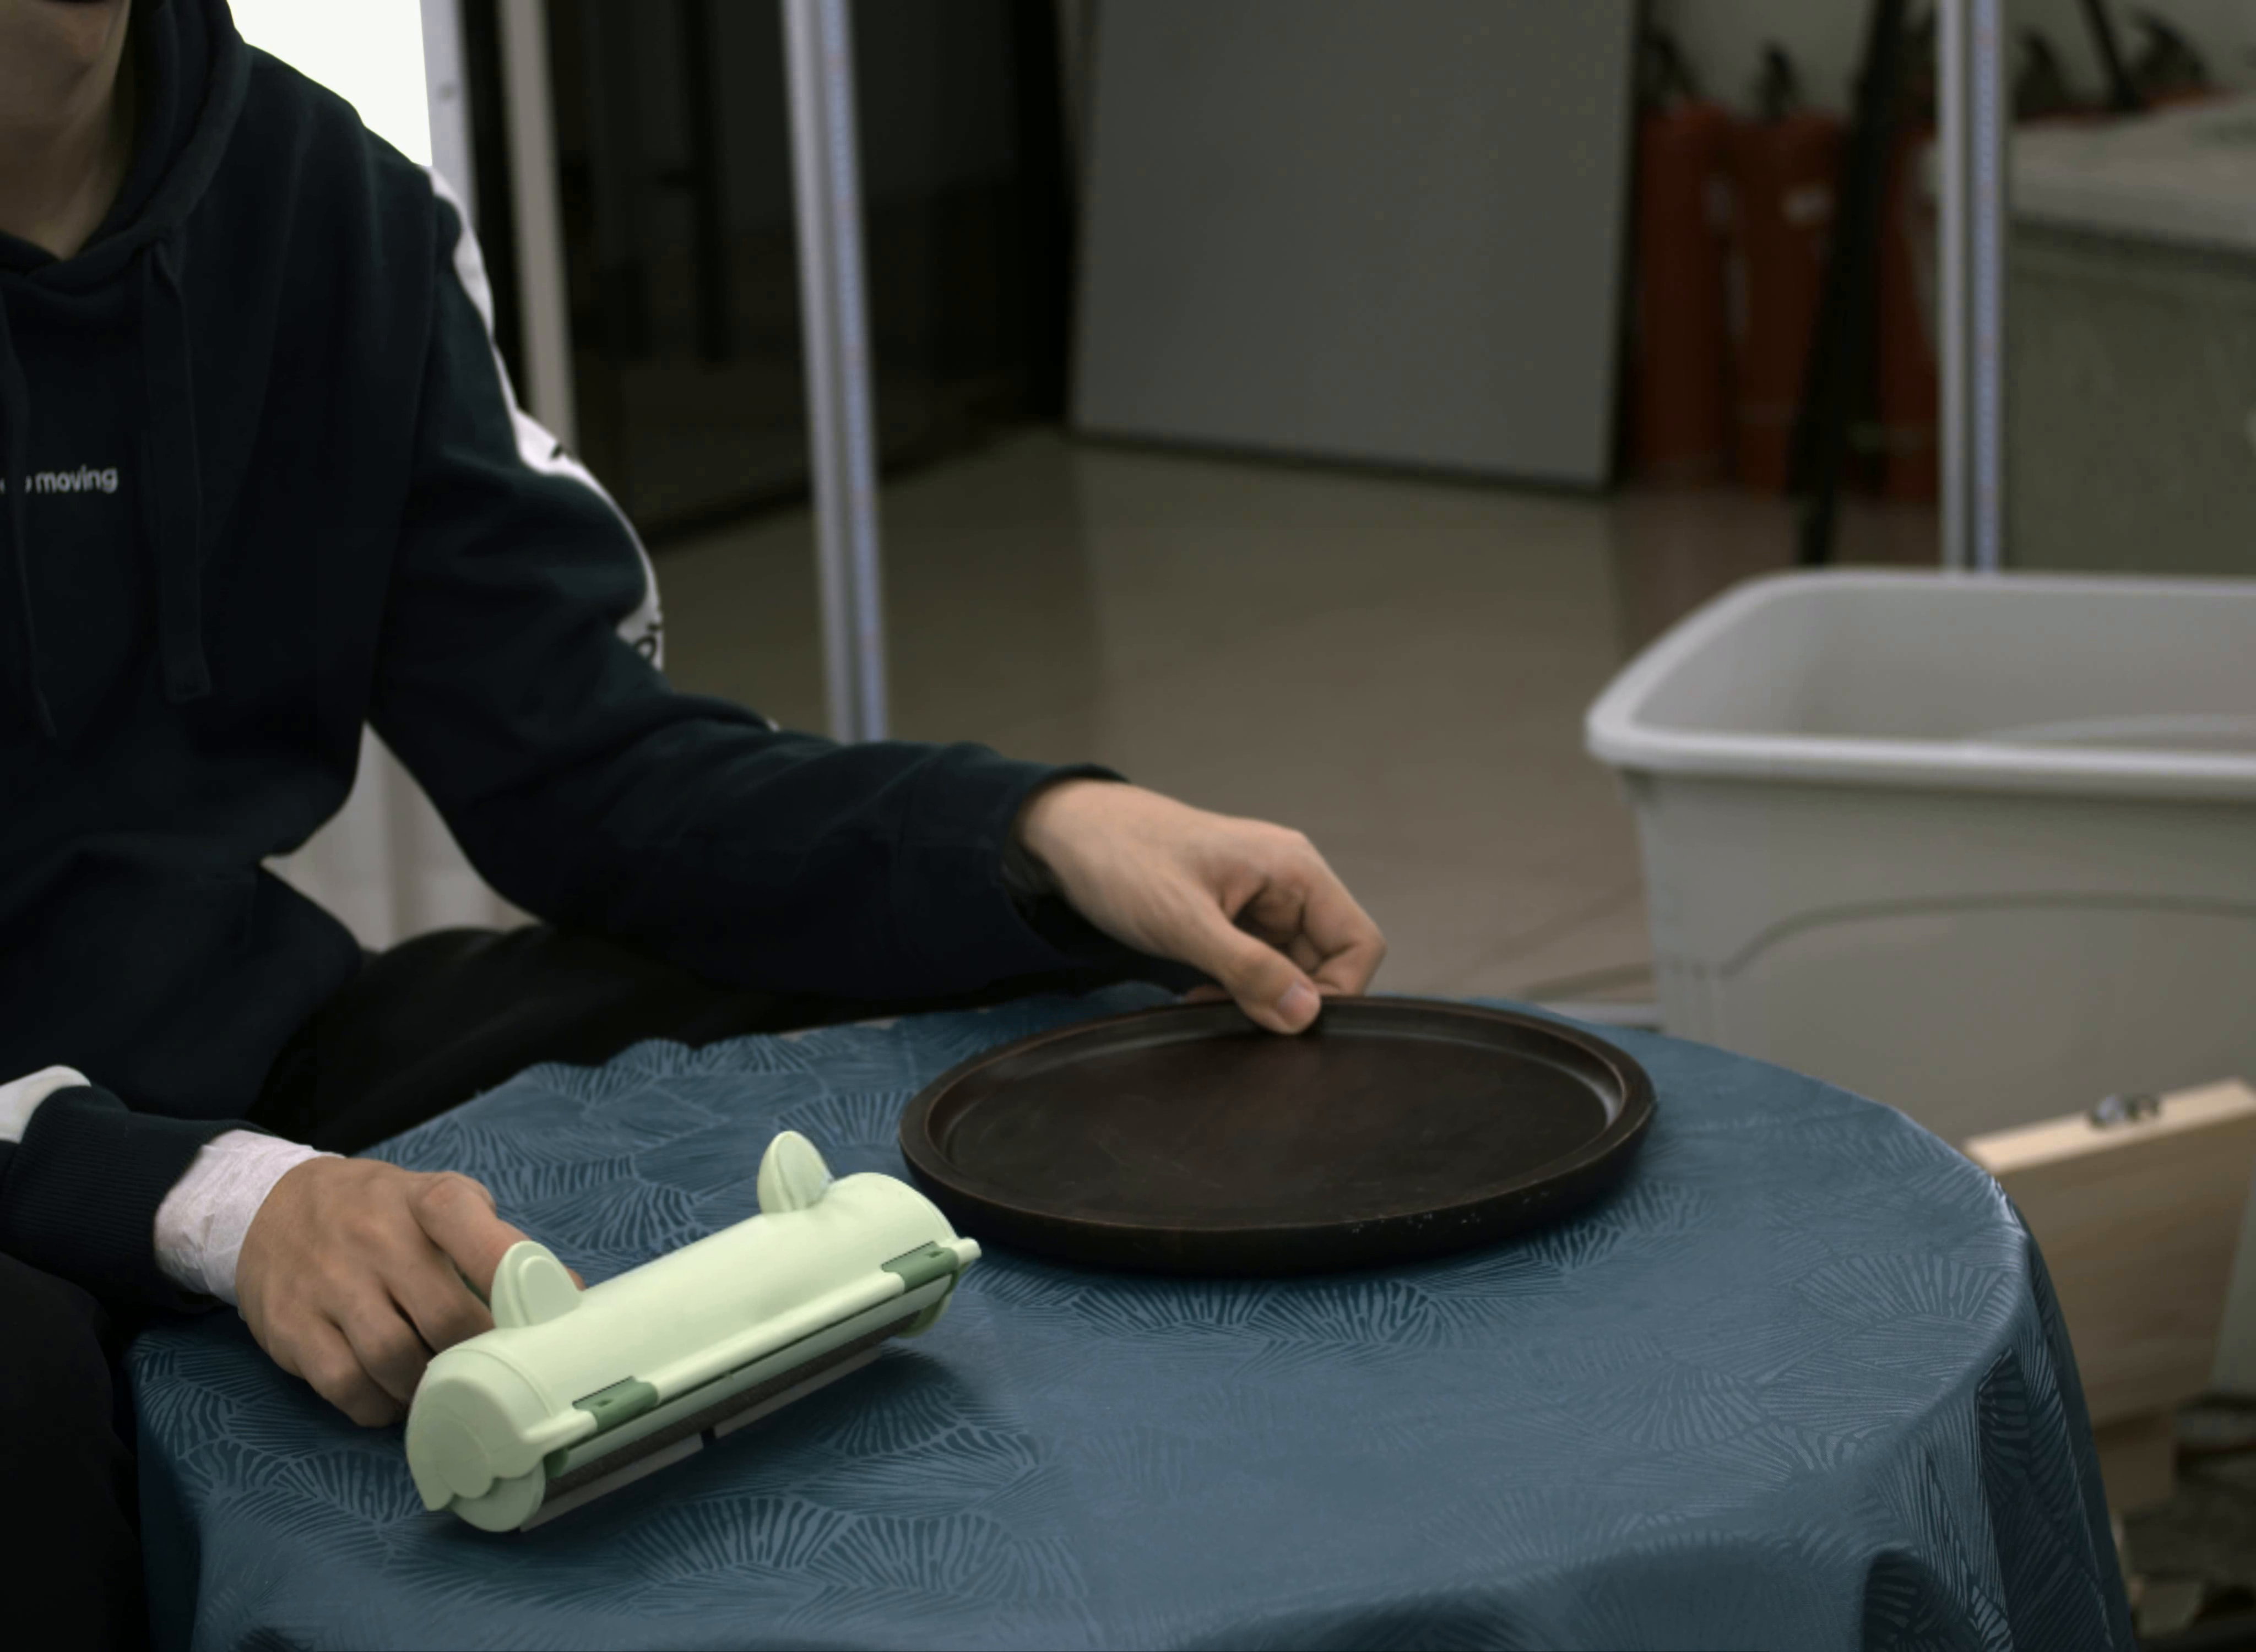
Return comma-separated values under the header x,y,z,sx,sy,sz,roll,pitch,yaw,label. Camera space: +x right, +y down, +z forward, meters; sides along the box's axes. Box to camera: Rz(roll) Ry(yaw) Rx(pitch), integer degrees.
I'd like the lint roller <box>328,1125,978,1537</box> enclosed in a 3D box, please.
x,y,z,sx,sy,sz,roll,pitch,yaw,label
-0.170,0.135,1.595,0.184,0.083,0.195,11,20,37,lint roller

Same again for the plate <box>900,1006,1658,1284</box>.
x,y,z,sx,sy,sz,roll,pitch,yaw,label
0.050,0.102,1.782,0.251,0.029,0.255,-4,15,0,plate
